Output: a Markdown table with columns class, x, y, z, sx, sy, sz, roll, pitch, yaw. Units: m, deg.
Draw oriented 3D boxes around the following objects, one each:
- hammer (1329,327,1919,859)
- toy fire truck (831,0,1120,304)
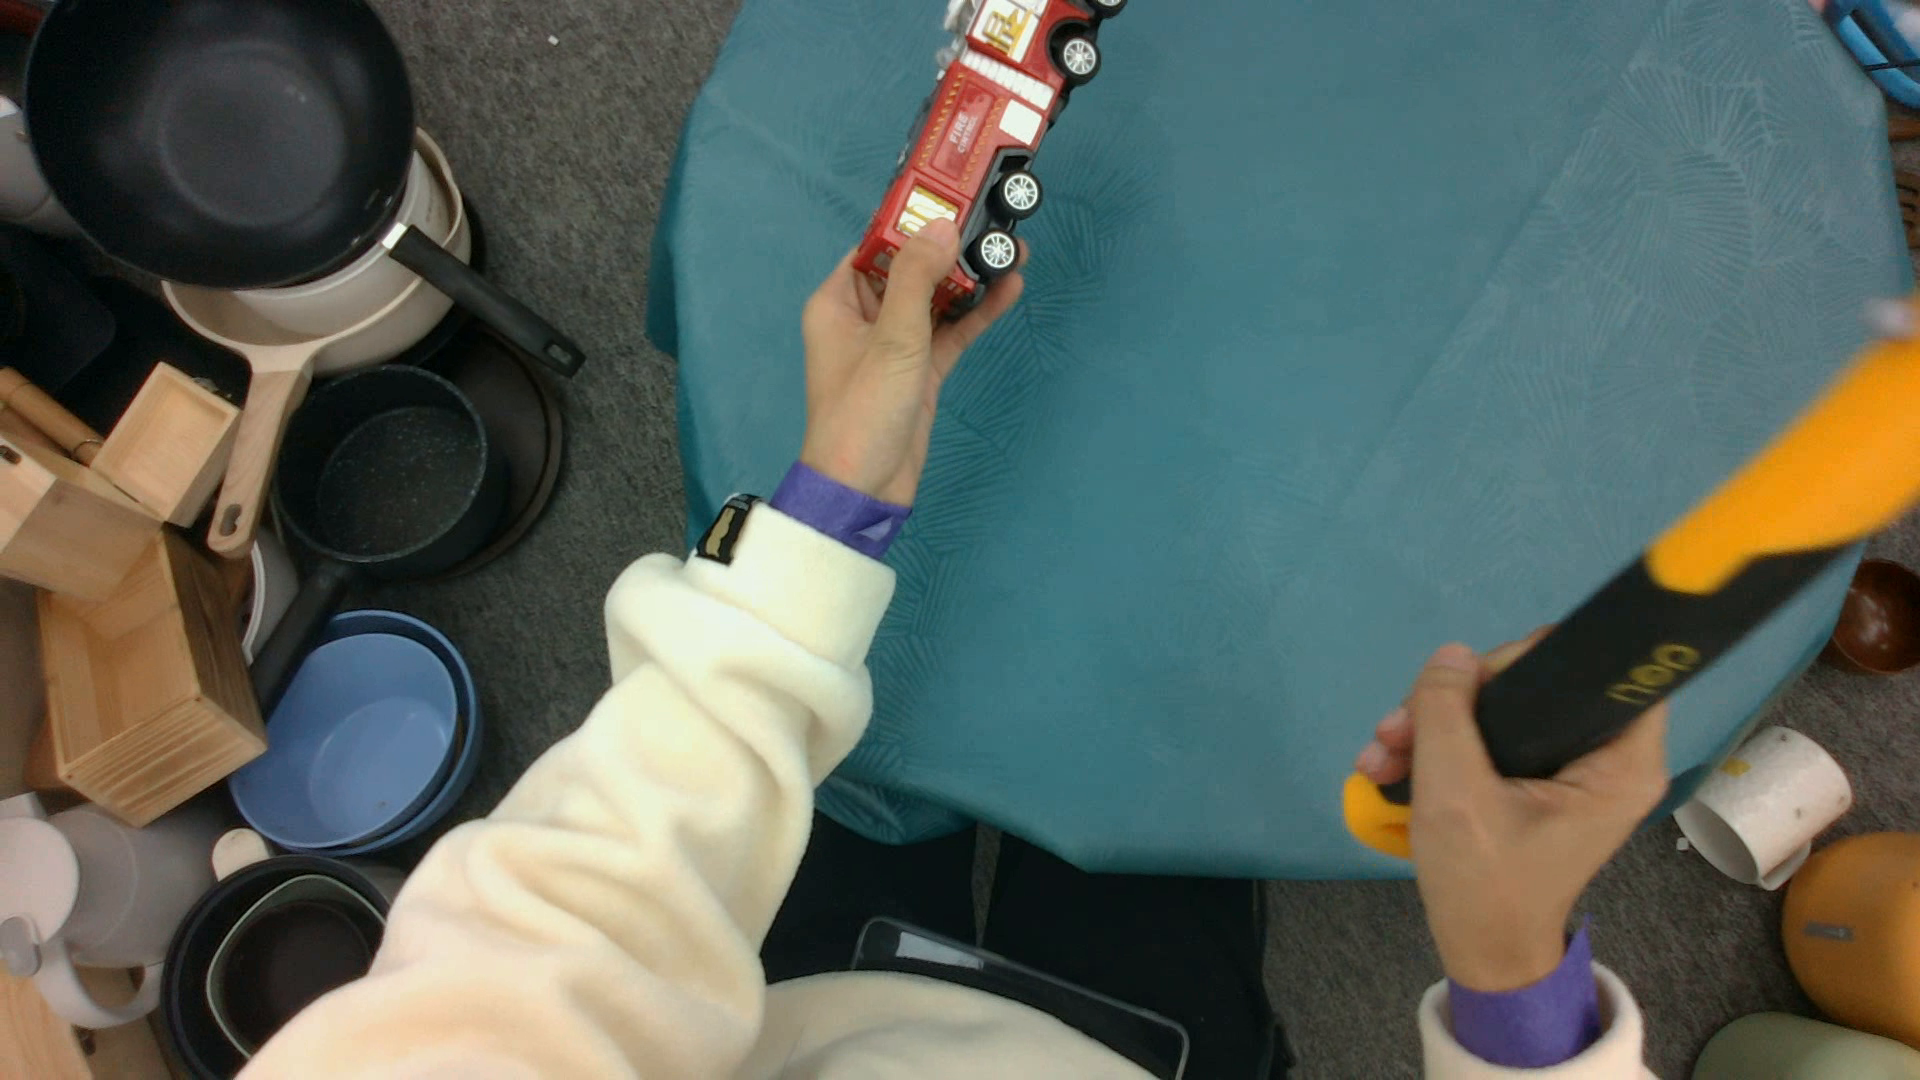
| class | x | y | z | sx | sy | sz | roll | pitch | yaw |
| --- | --- | --- | --- | --- | --- | --- | --- | --- | --- |
| hammer | 0.188 | 0.006 | 0.339 | 0.131 | 0.336 | 0.032 | 19 | 52 | -6 |
| toy fire truck | 0.007 | -0.176 | 0.539 | 0.070 | 0.054 | 0.168 | 25 | 78 | -14 |
